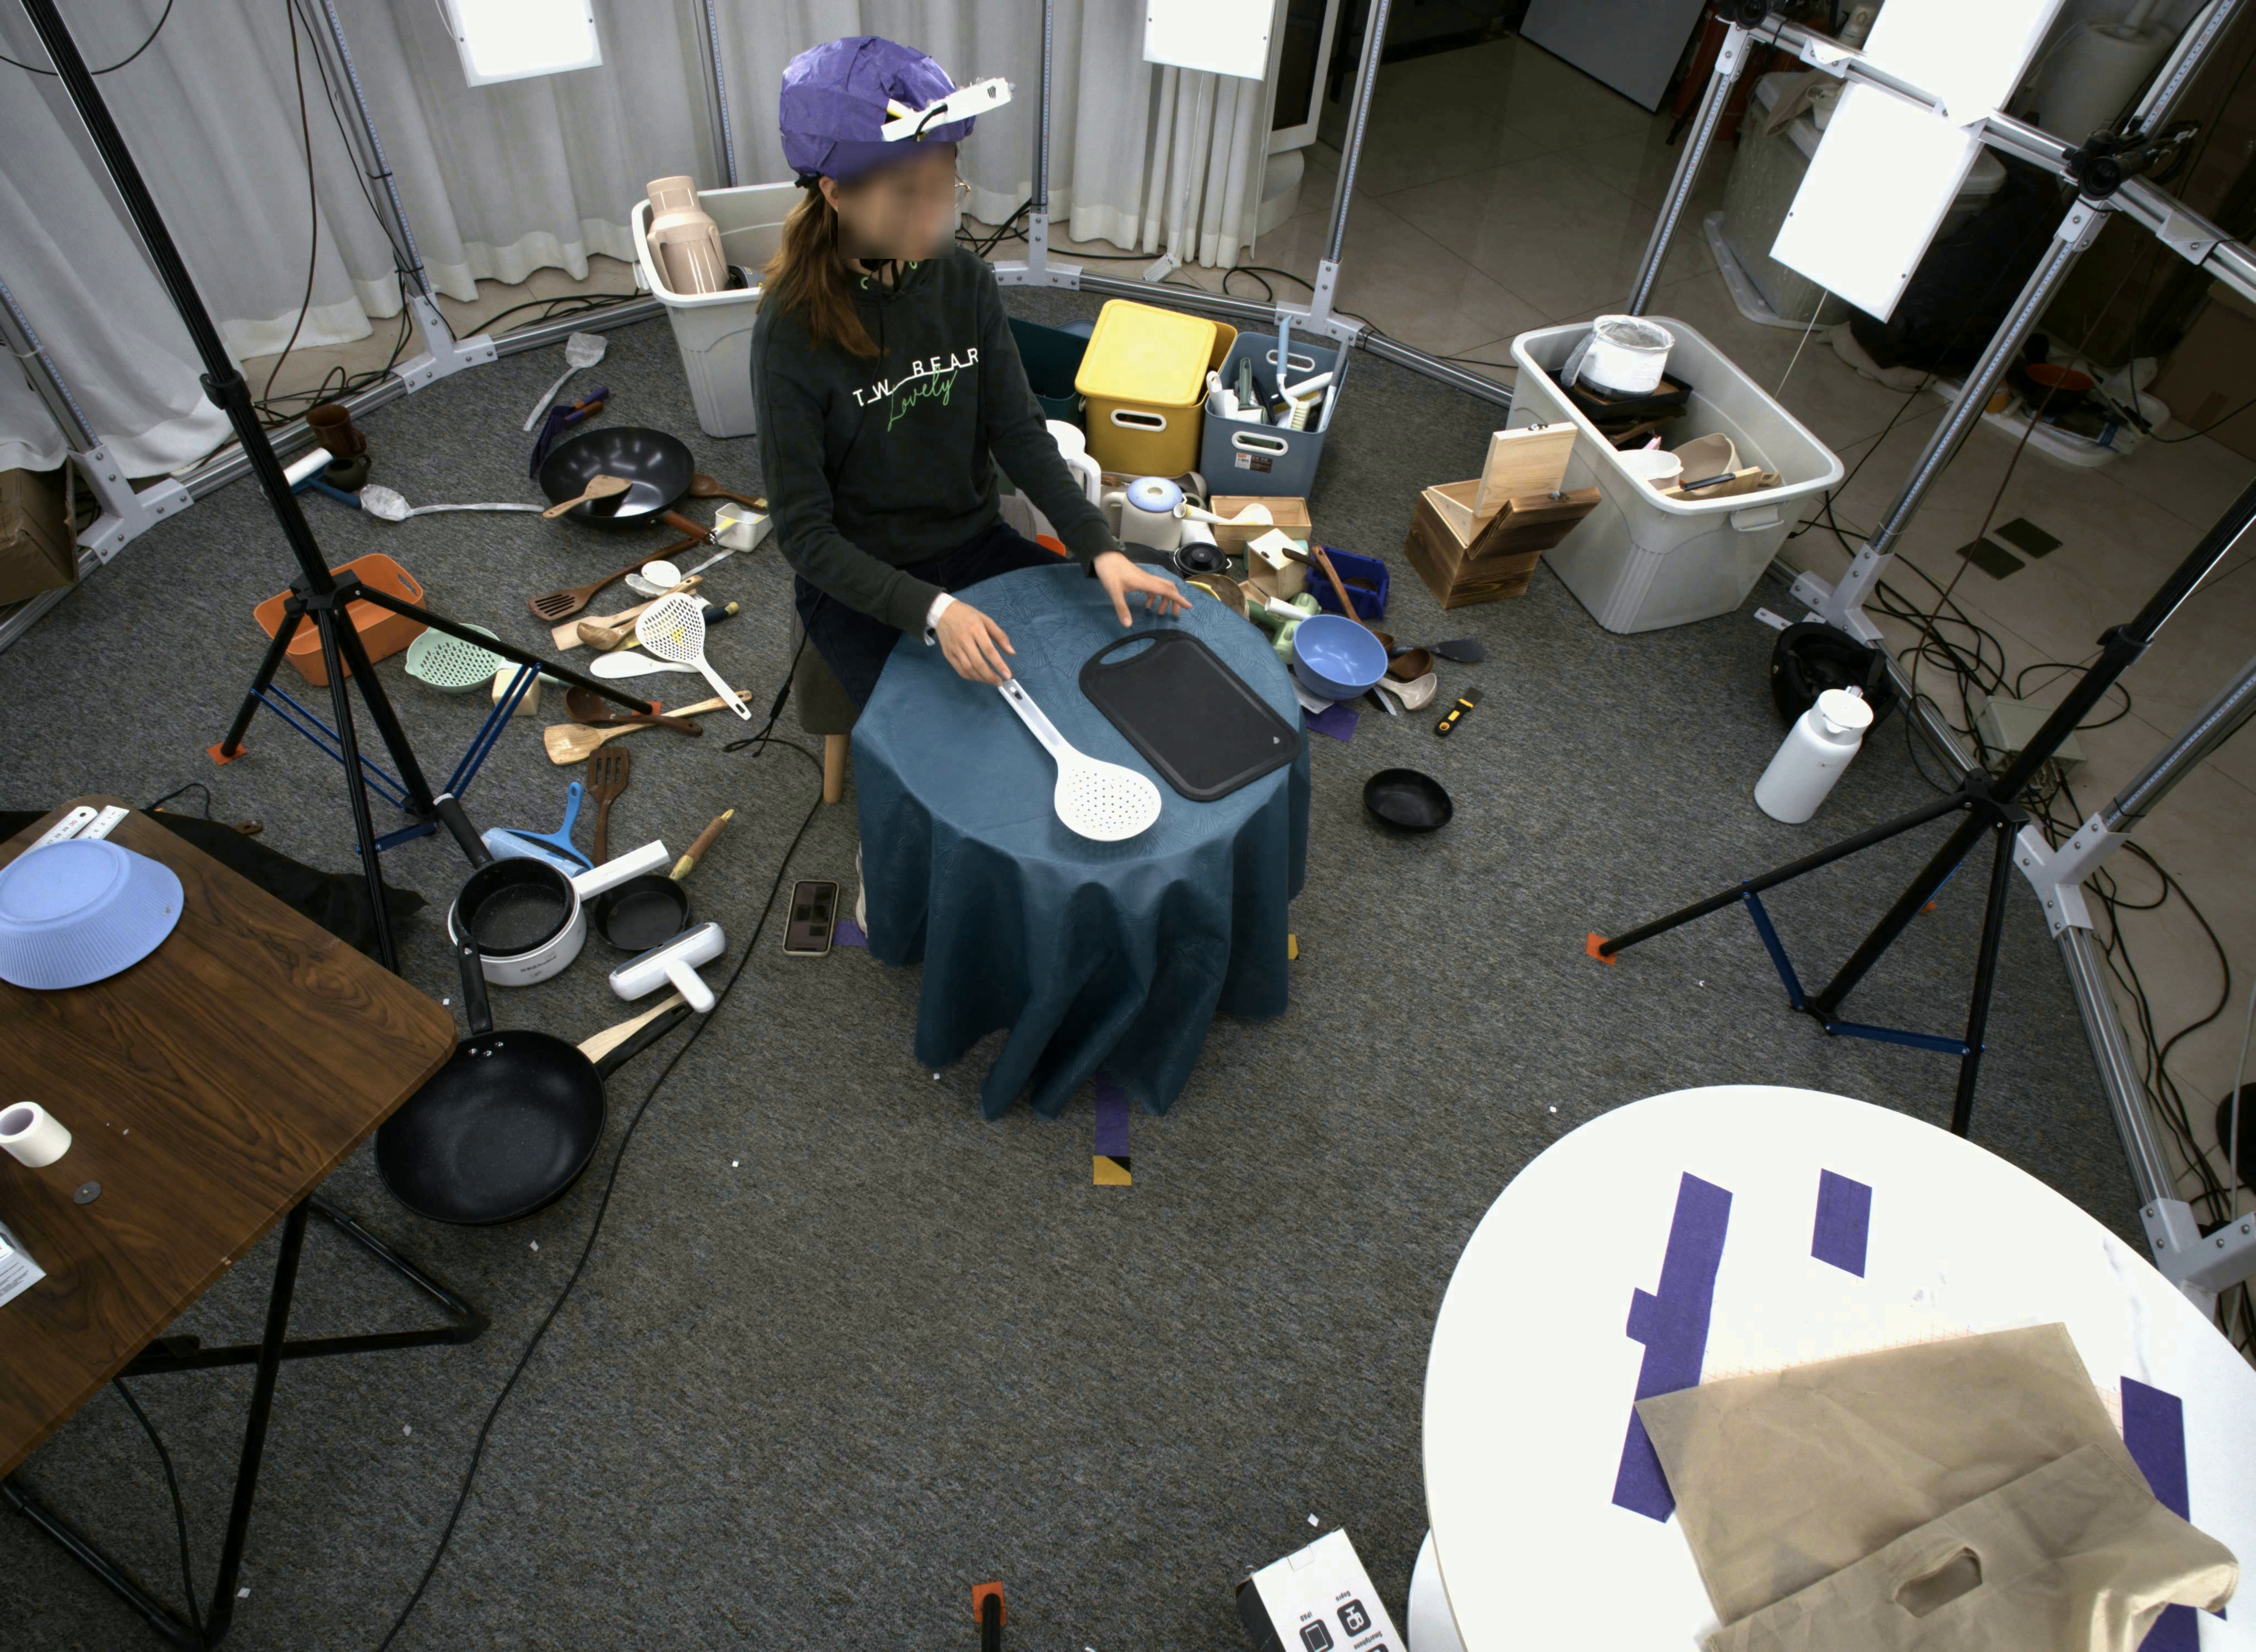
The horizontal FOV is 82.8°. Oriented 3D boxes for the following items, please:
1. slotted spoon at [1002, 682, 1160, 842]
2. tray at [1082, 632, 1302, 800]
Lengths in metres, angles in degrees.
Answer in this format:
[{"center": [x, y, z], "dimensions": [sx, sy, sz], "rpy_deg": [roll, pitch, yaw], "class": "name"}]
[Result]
[{"center": [-0.082, -0.092, 1.729], "dimensions": [0.136, 0.044, 0.357], "rpy_deg": [-20, 52, -23], "class": "slotted spoon"}, {"center": [0.083, -0.169, 1.832], "dimensions": [0.212, 0.009, 0.332], "rpy_deg": [-26, 55, -24], "class": "tray"}]
